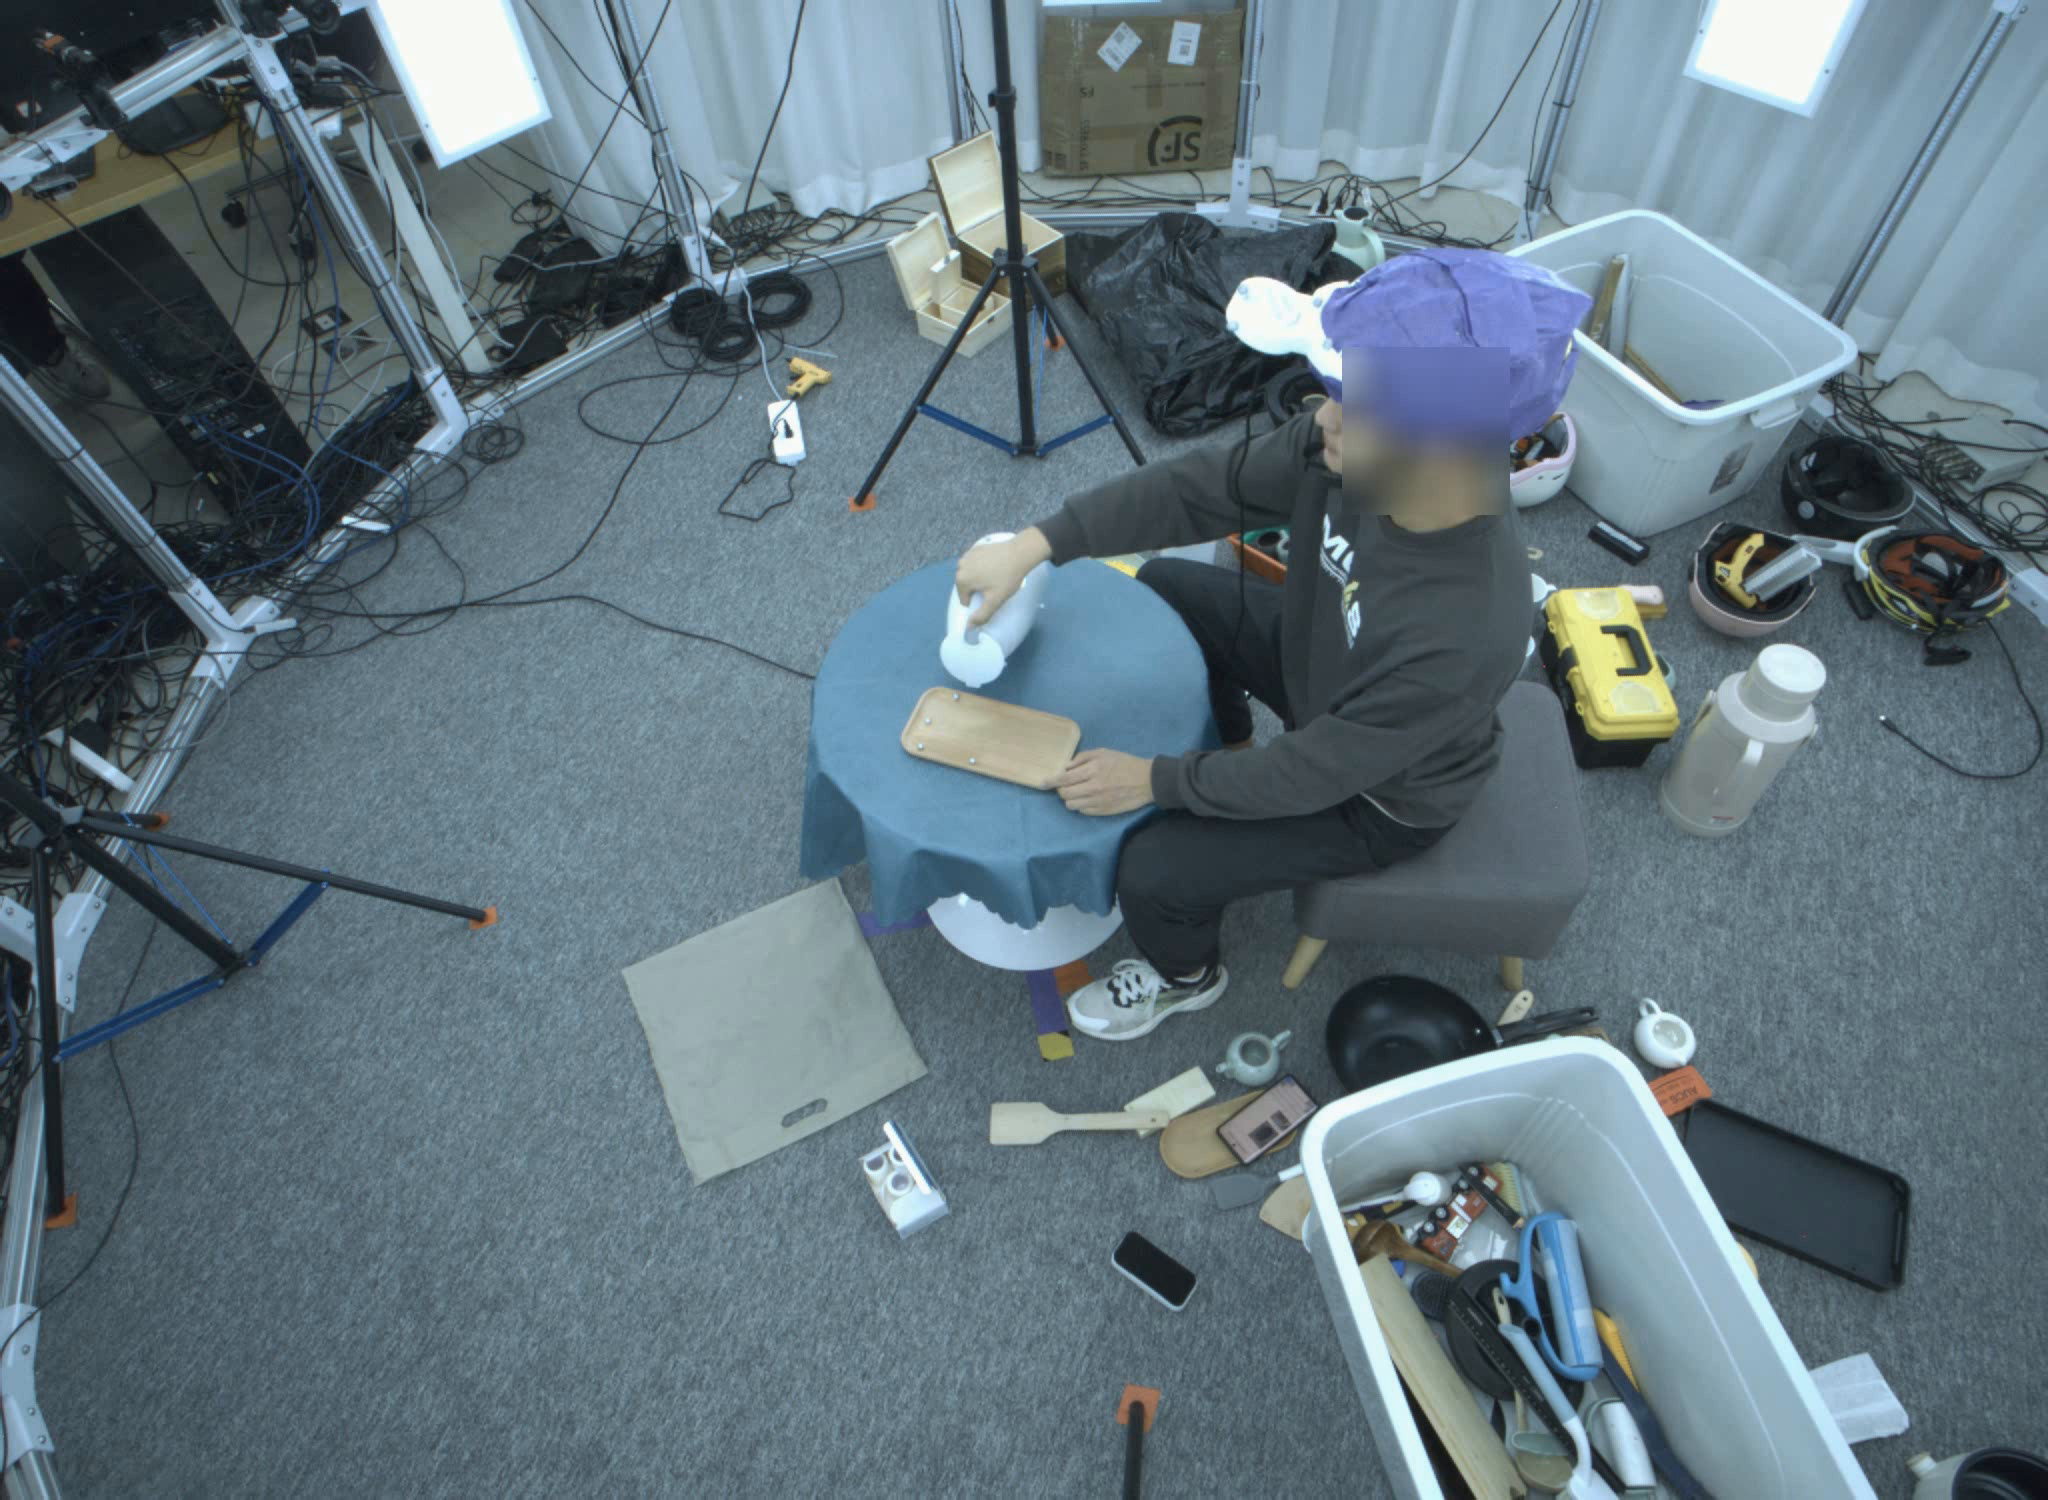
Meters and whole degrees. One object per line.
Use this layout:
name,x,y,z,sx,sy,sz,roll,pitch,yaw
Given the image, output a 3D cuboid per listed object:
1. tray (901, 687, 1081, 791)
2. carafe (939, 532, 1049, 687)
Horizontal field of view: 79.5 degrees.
tray,-0.048,-0.018,1.789,0.248,0.023,0.130,16,59,12
carafe,-0.052,-0.216,1.778,0.132,0.169,0.247,9,40,8
